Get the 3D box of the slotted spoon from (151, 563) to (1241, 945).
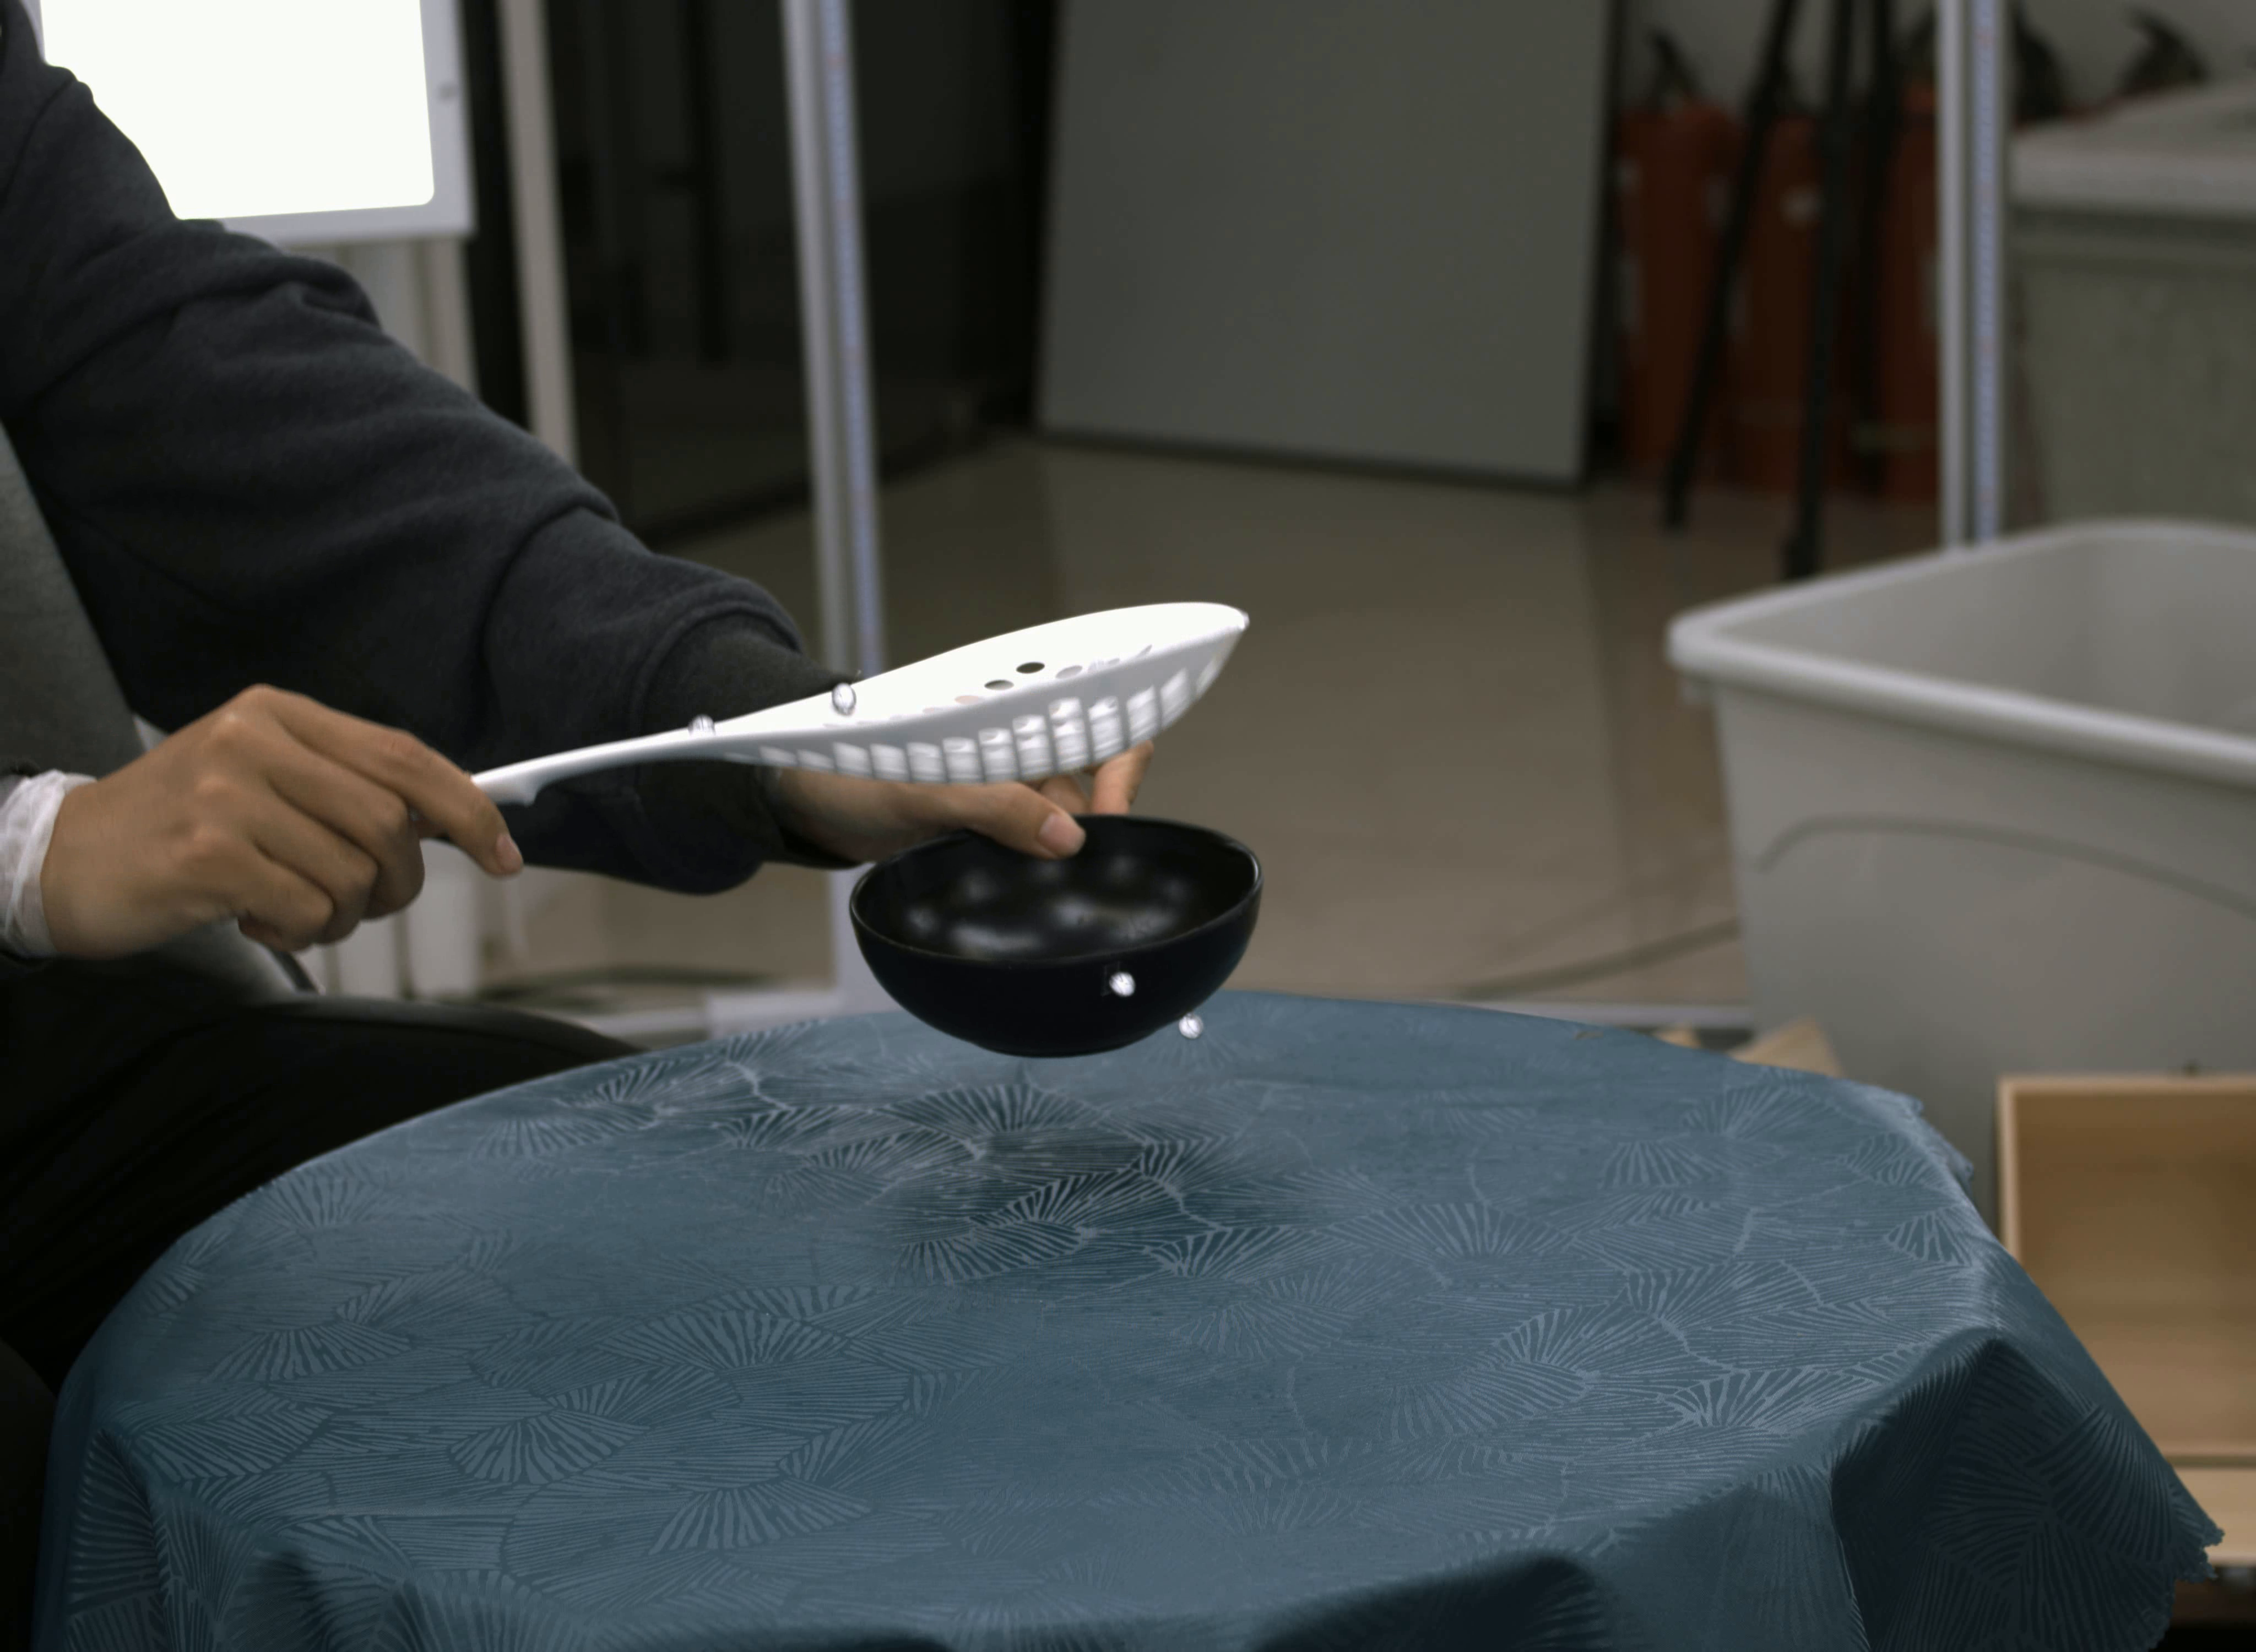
[{"bbox_3d":[-0.130,-0.023,1.646,0.343,0.051,0.137,-11,7,-6],"label":"slotted spoon"}]
